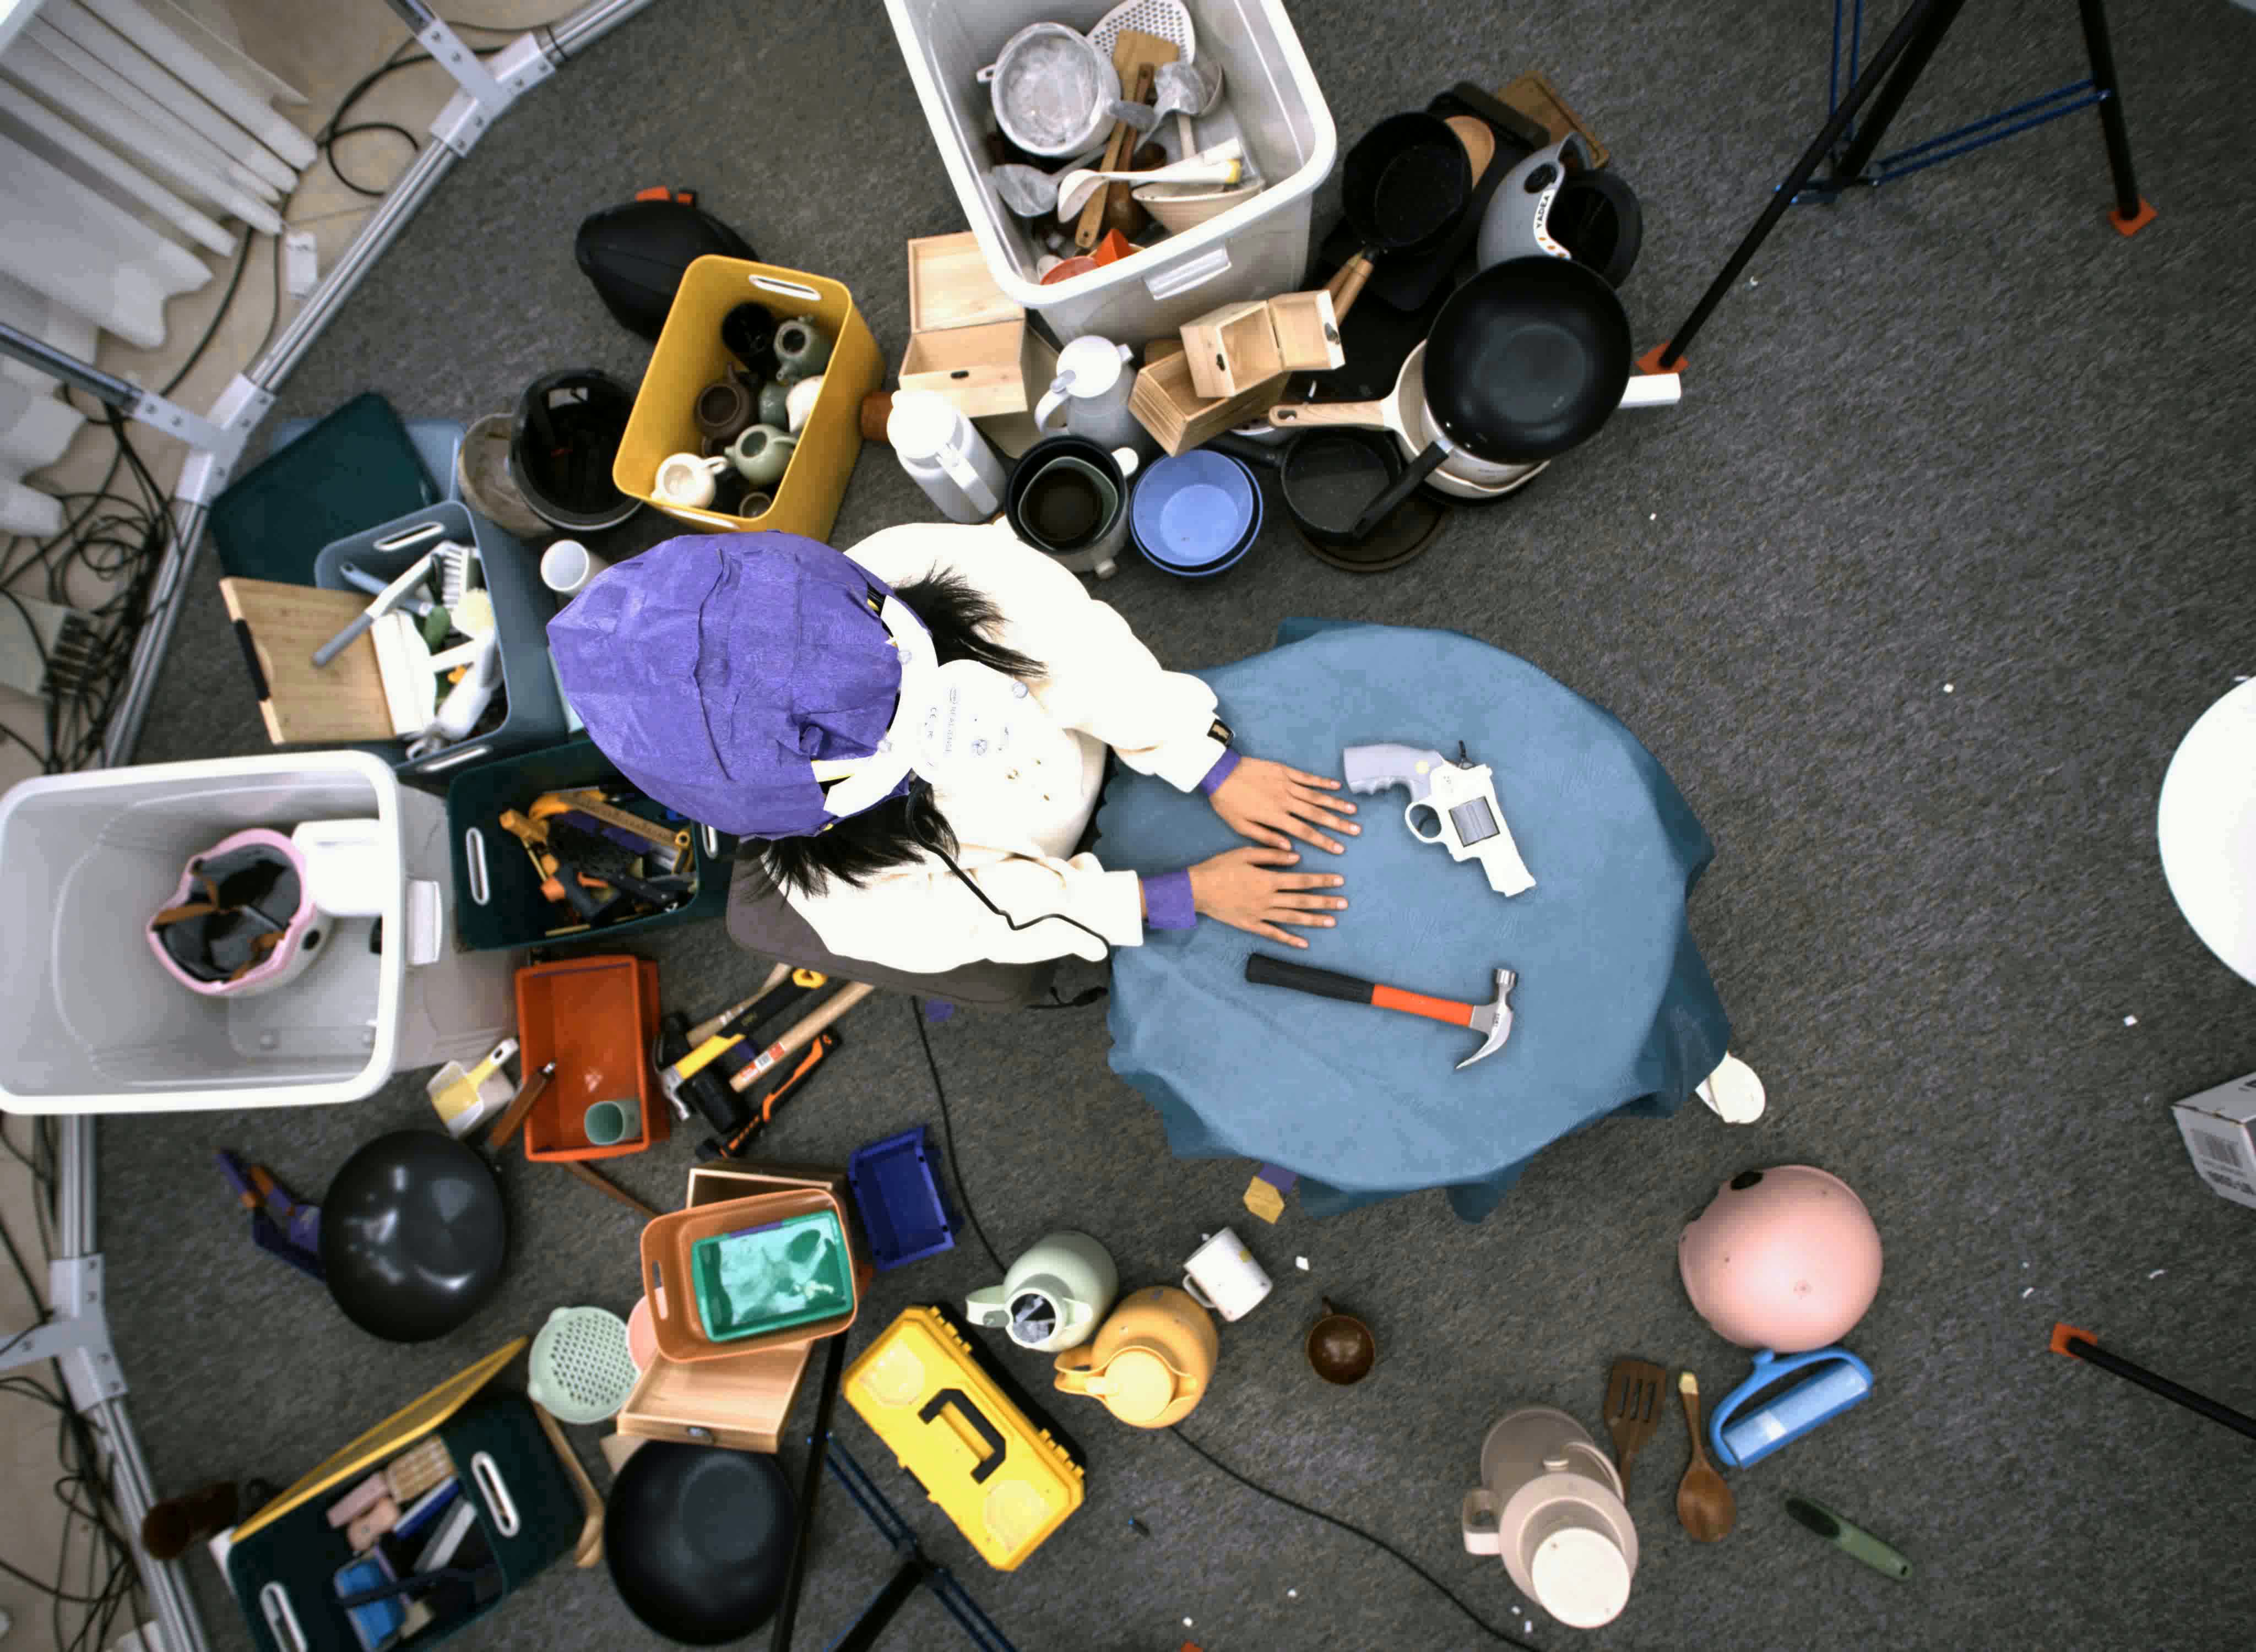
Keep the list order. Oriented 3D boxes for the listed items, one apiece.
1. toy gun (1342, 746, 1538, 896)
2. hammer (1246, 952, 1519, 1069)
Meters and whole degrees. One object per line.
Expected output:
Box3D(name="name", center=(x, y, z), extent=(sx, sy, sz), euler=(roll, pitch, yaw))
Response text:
Box3D(name="toy gun", center=(0.321, -0.010, 1.435), extent=(0.142, 0.039, 0.208), euler=(-24, 83, 7))
Box3D(name="hammer", center=(0.260, 0.176, 1.442), extent=(0.278, 0.026, 0.111), euler=(12, 98, 11))
